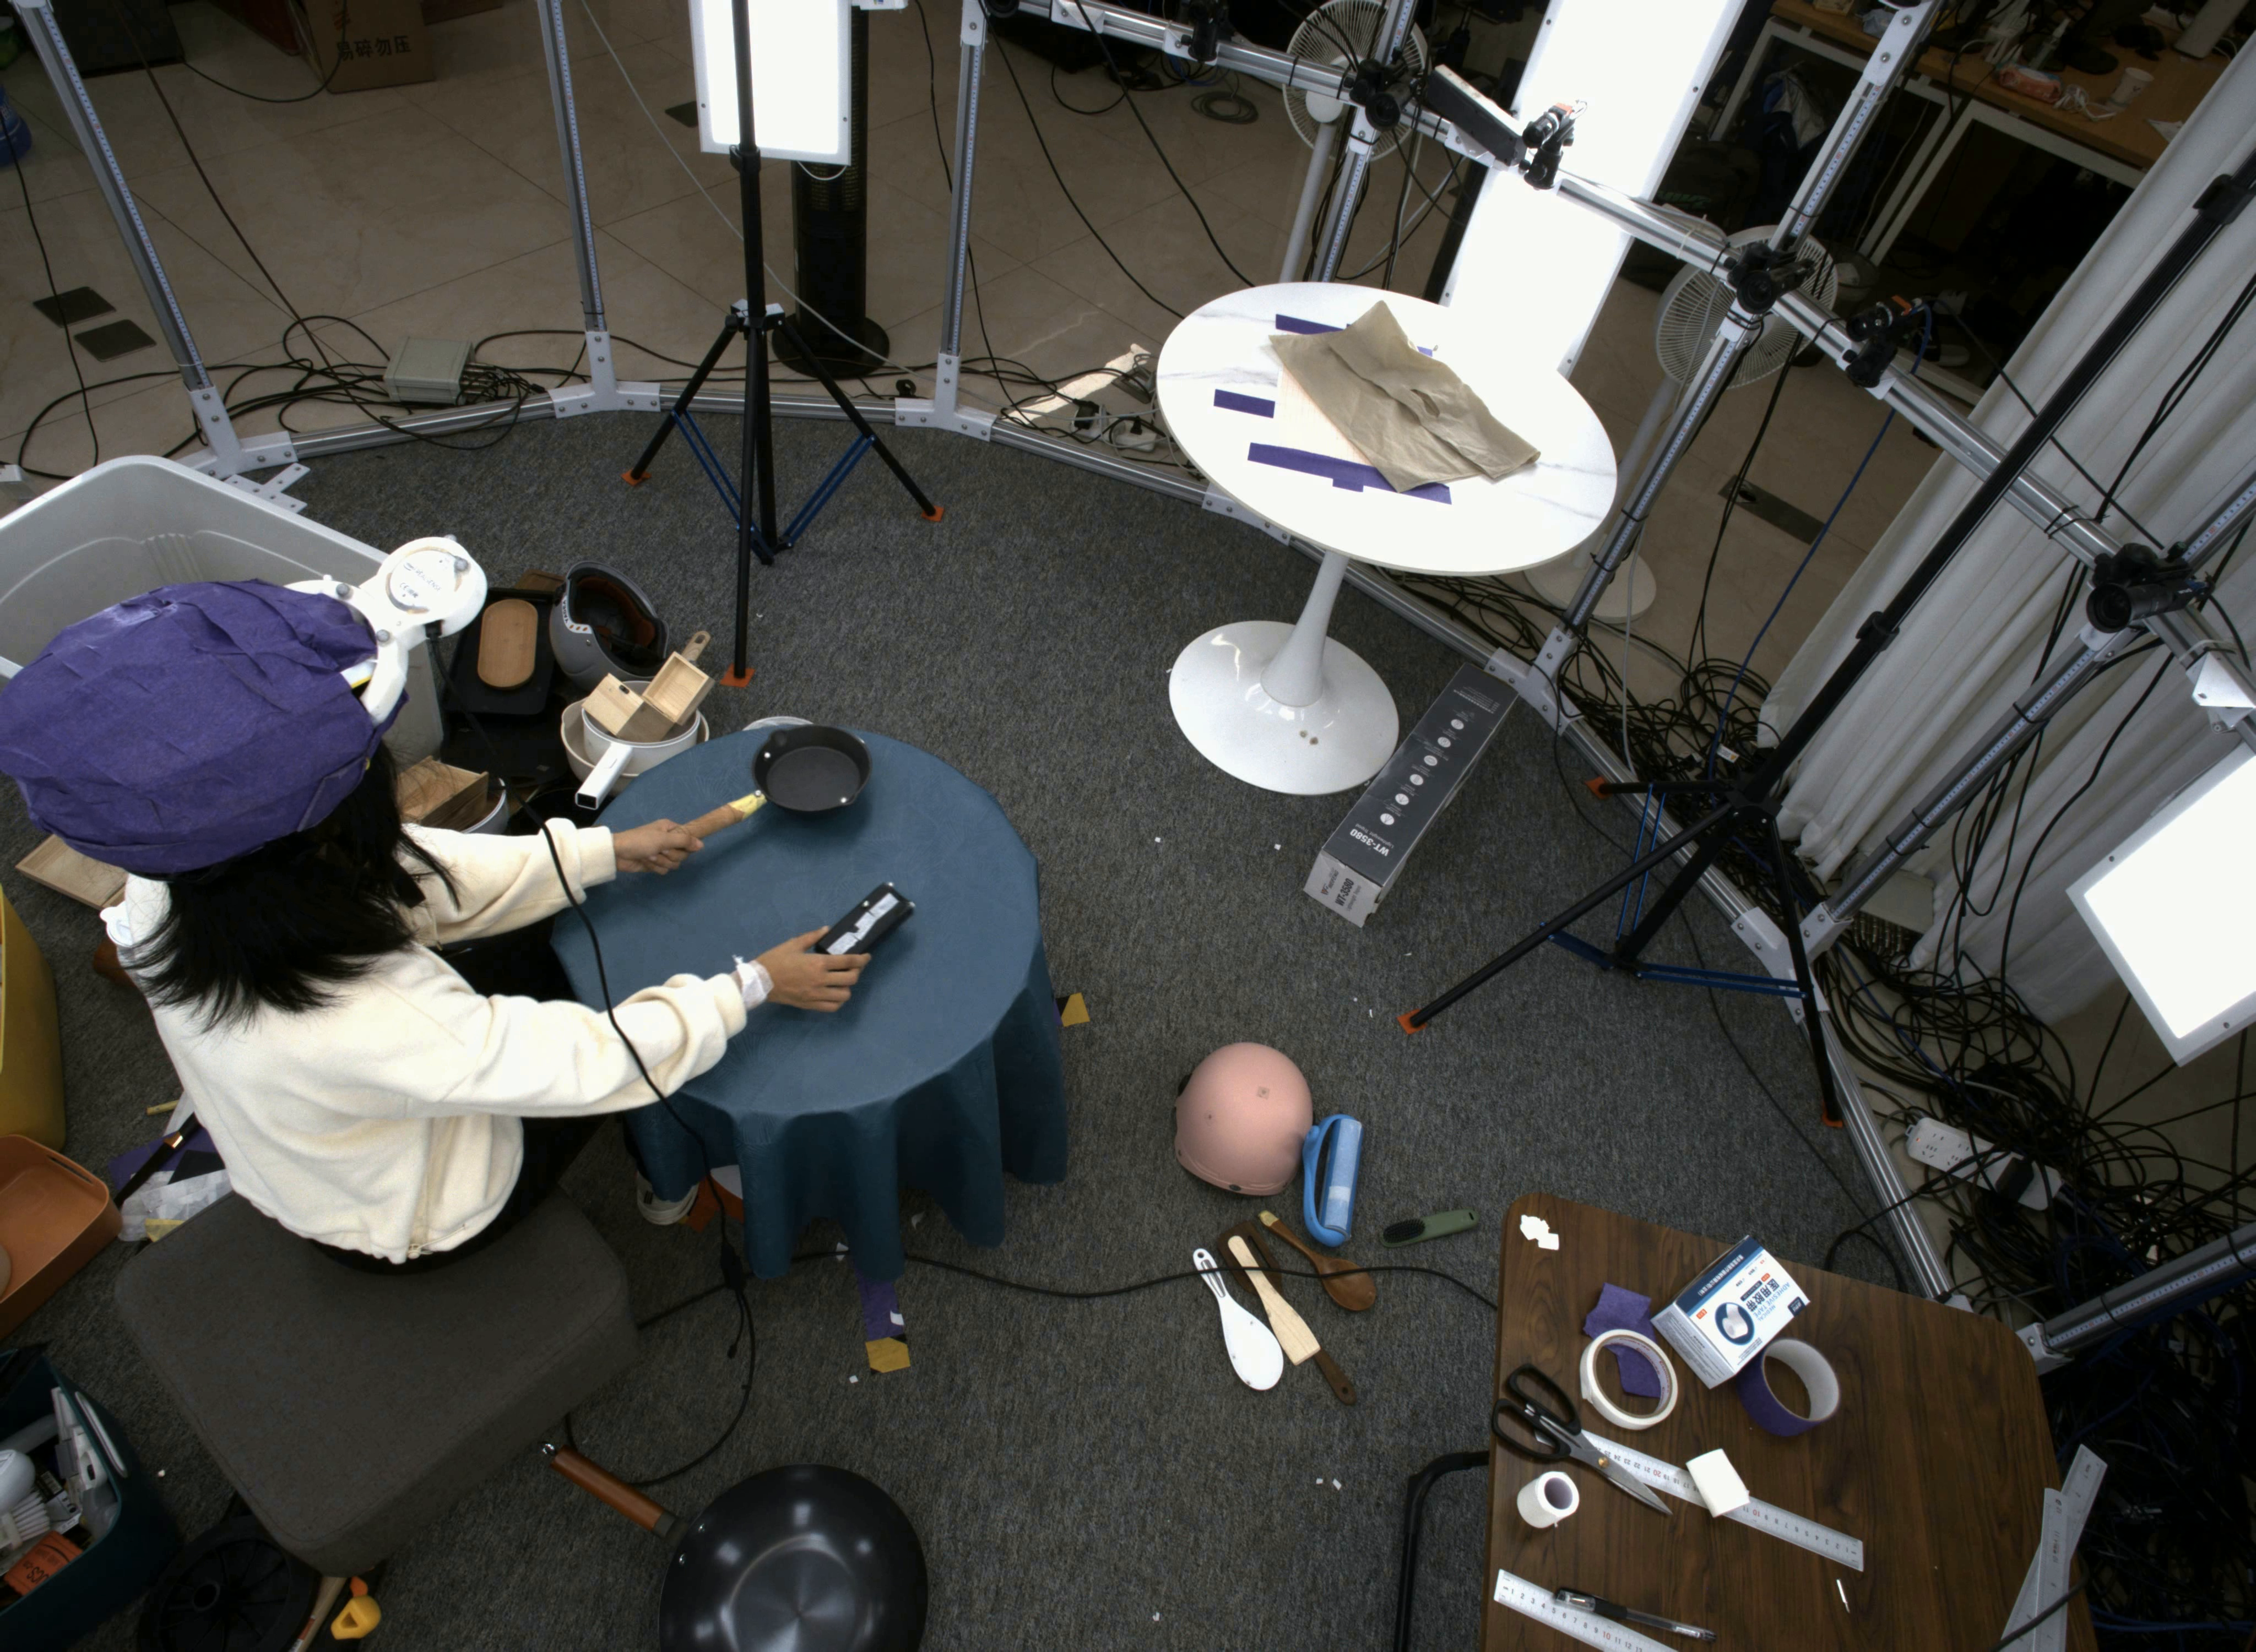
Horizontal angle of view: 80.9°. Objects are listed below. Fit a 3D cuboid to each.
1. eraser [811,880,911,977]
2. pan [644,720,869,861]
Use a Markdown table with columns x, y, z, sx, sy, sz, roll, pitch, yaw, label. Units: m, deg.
| x | y | z | sx | sy | sz | roll | pitch | yaw | label |
| --- | --- | --- | --- | --- | --- | --- | --- | --- | --- |
| -0.328 | 0.122 | 1.598 | 0.053 | 0.031 | 0.125 | 40 | 58 | 8 | eraser |
| -0.481 | -0.037 | 1.671 | 0.325 | 0.051 | 0.164 | -33 | 65 | -33 | pan |
